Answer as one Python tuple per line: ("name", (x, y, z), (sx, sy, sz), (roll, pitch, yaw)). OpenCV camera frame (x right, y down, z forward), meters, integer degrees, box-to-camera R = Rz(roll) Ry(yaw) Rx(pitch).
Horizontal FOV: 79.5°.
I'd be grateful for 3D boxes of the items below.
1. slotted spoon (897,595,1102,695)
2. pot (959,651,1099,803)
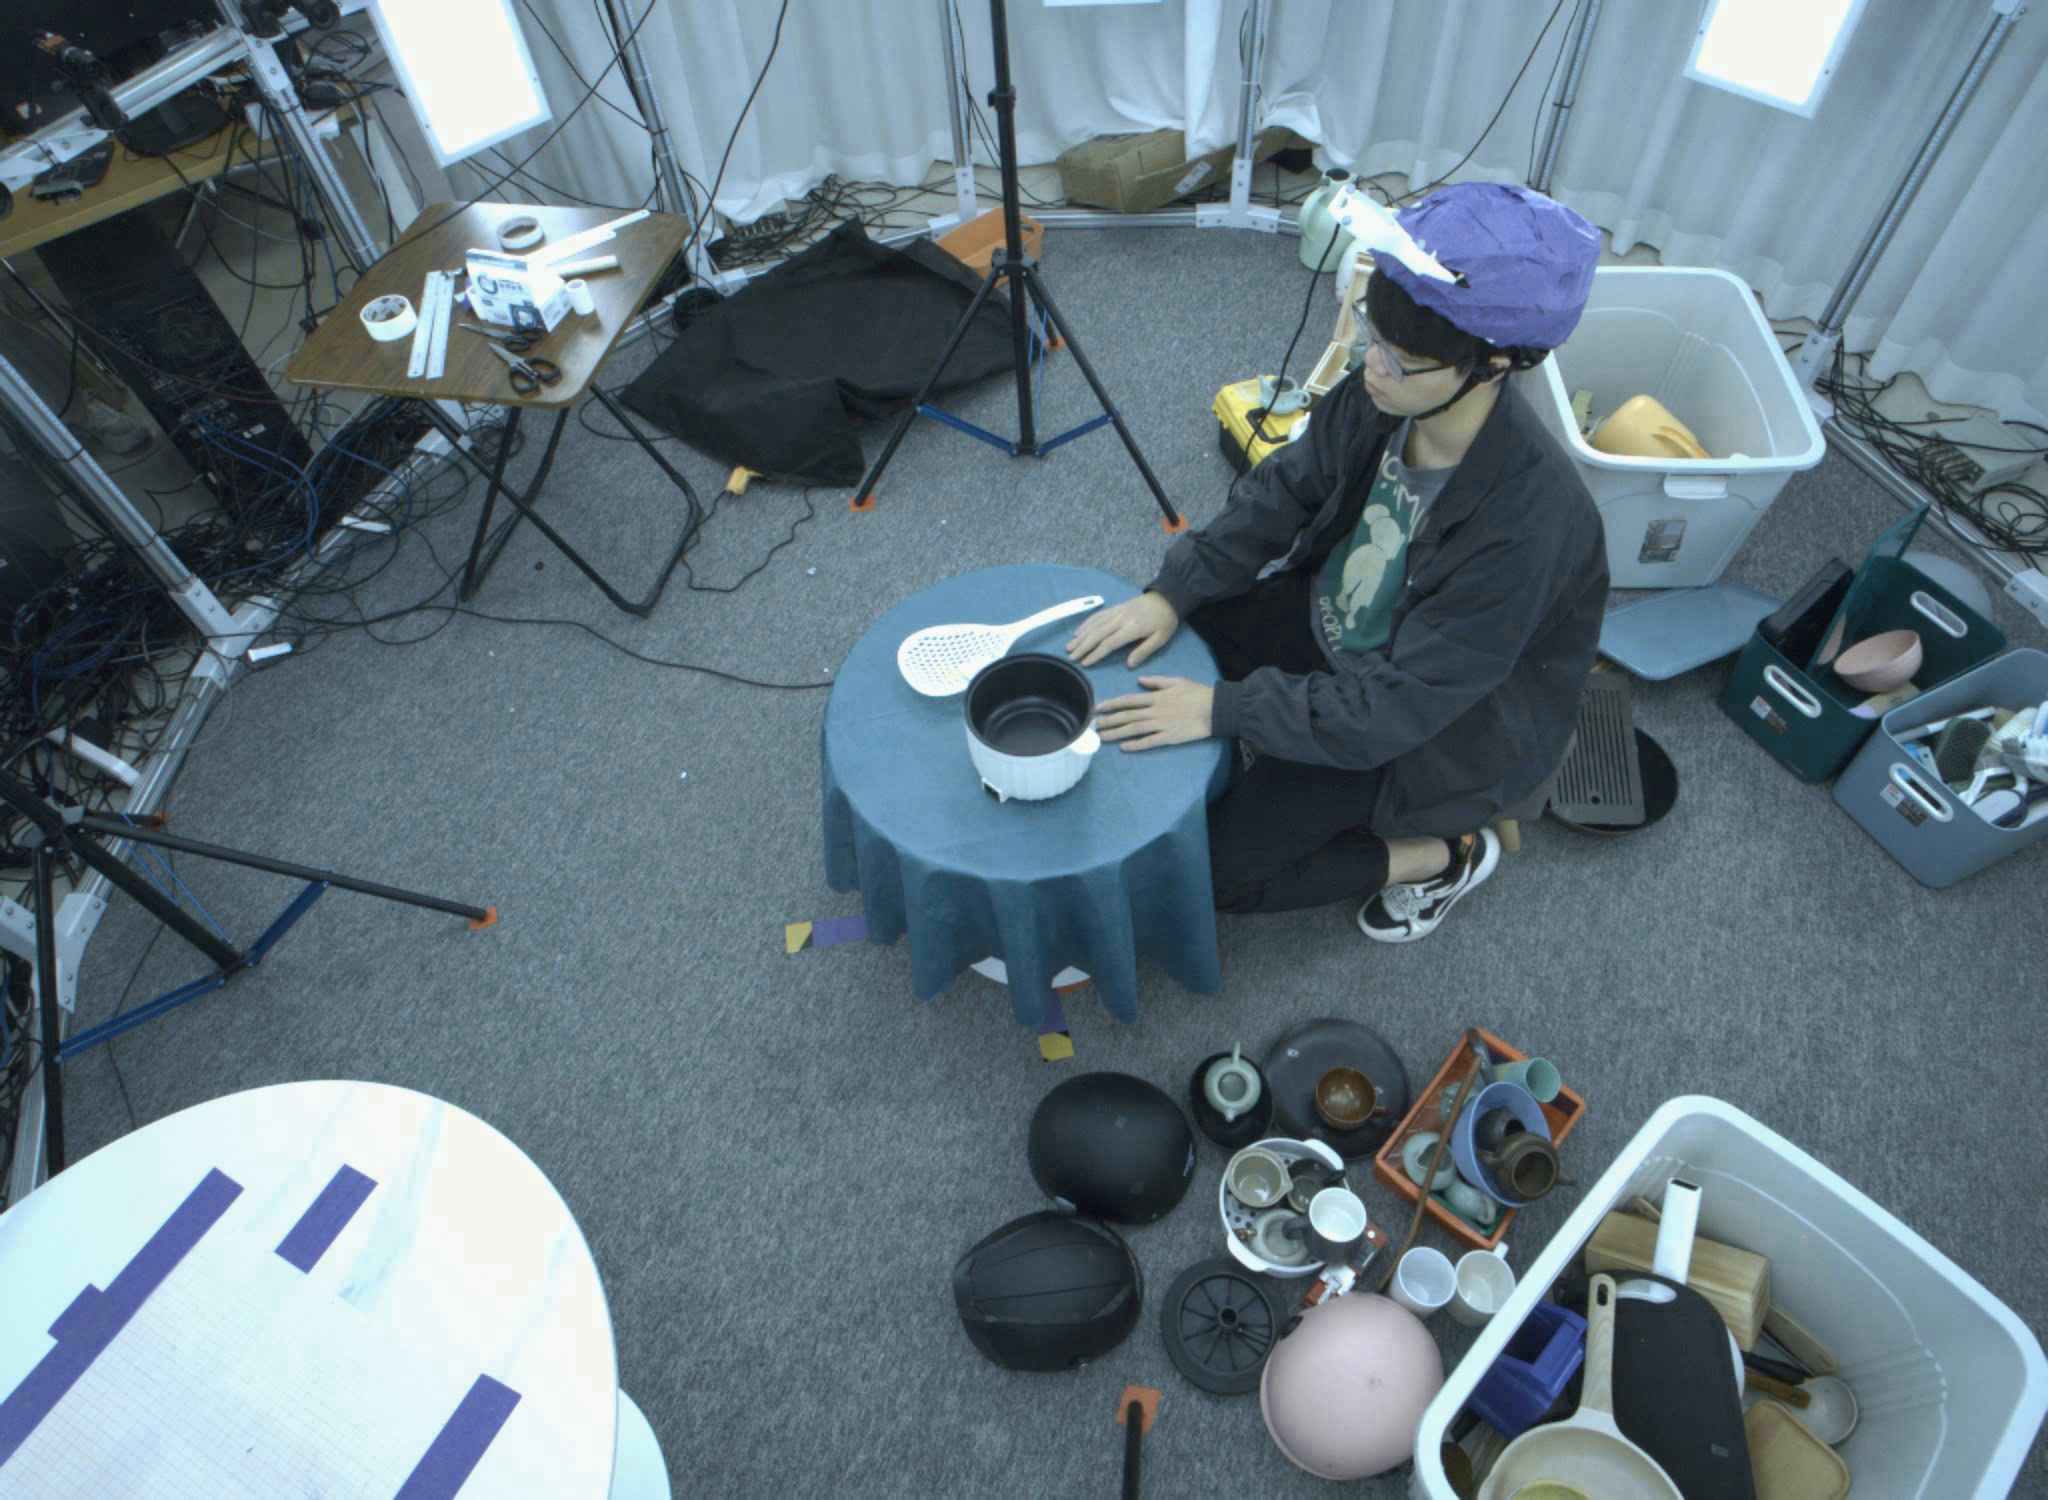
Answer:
("slotted spoon", (-0.026, -0.174, 1.878), (0.350, 0.051, 0.134), (-27, 58, -16))
("pot", (0.011, -0.030, 1.715), (0.236, 0.144, 0.191), (35, 66, 23))
